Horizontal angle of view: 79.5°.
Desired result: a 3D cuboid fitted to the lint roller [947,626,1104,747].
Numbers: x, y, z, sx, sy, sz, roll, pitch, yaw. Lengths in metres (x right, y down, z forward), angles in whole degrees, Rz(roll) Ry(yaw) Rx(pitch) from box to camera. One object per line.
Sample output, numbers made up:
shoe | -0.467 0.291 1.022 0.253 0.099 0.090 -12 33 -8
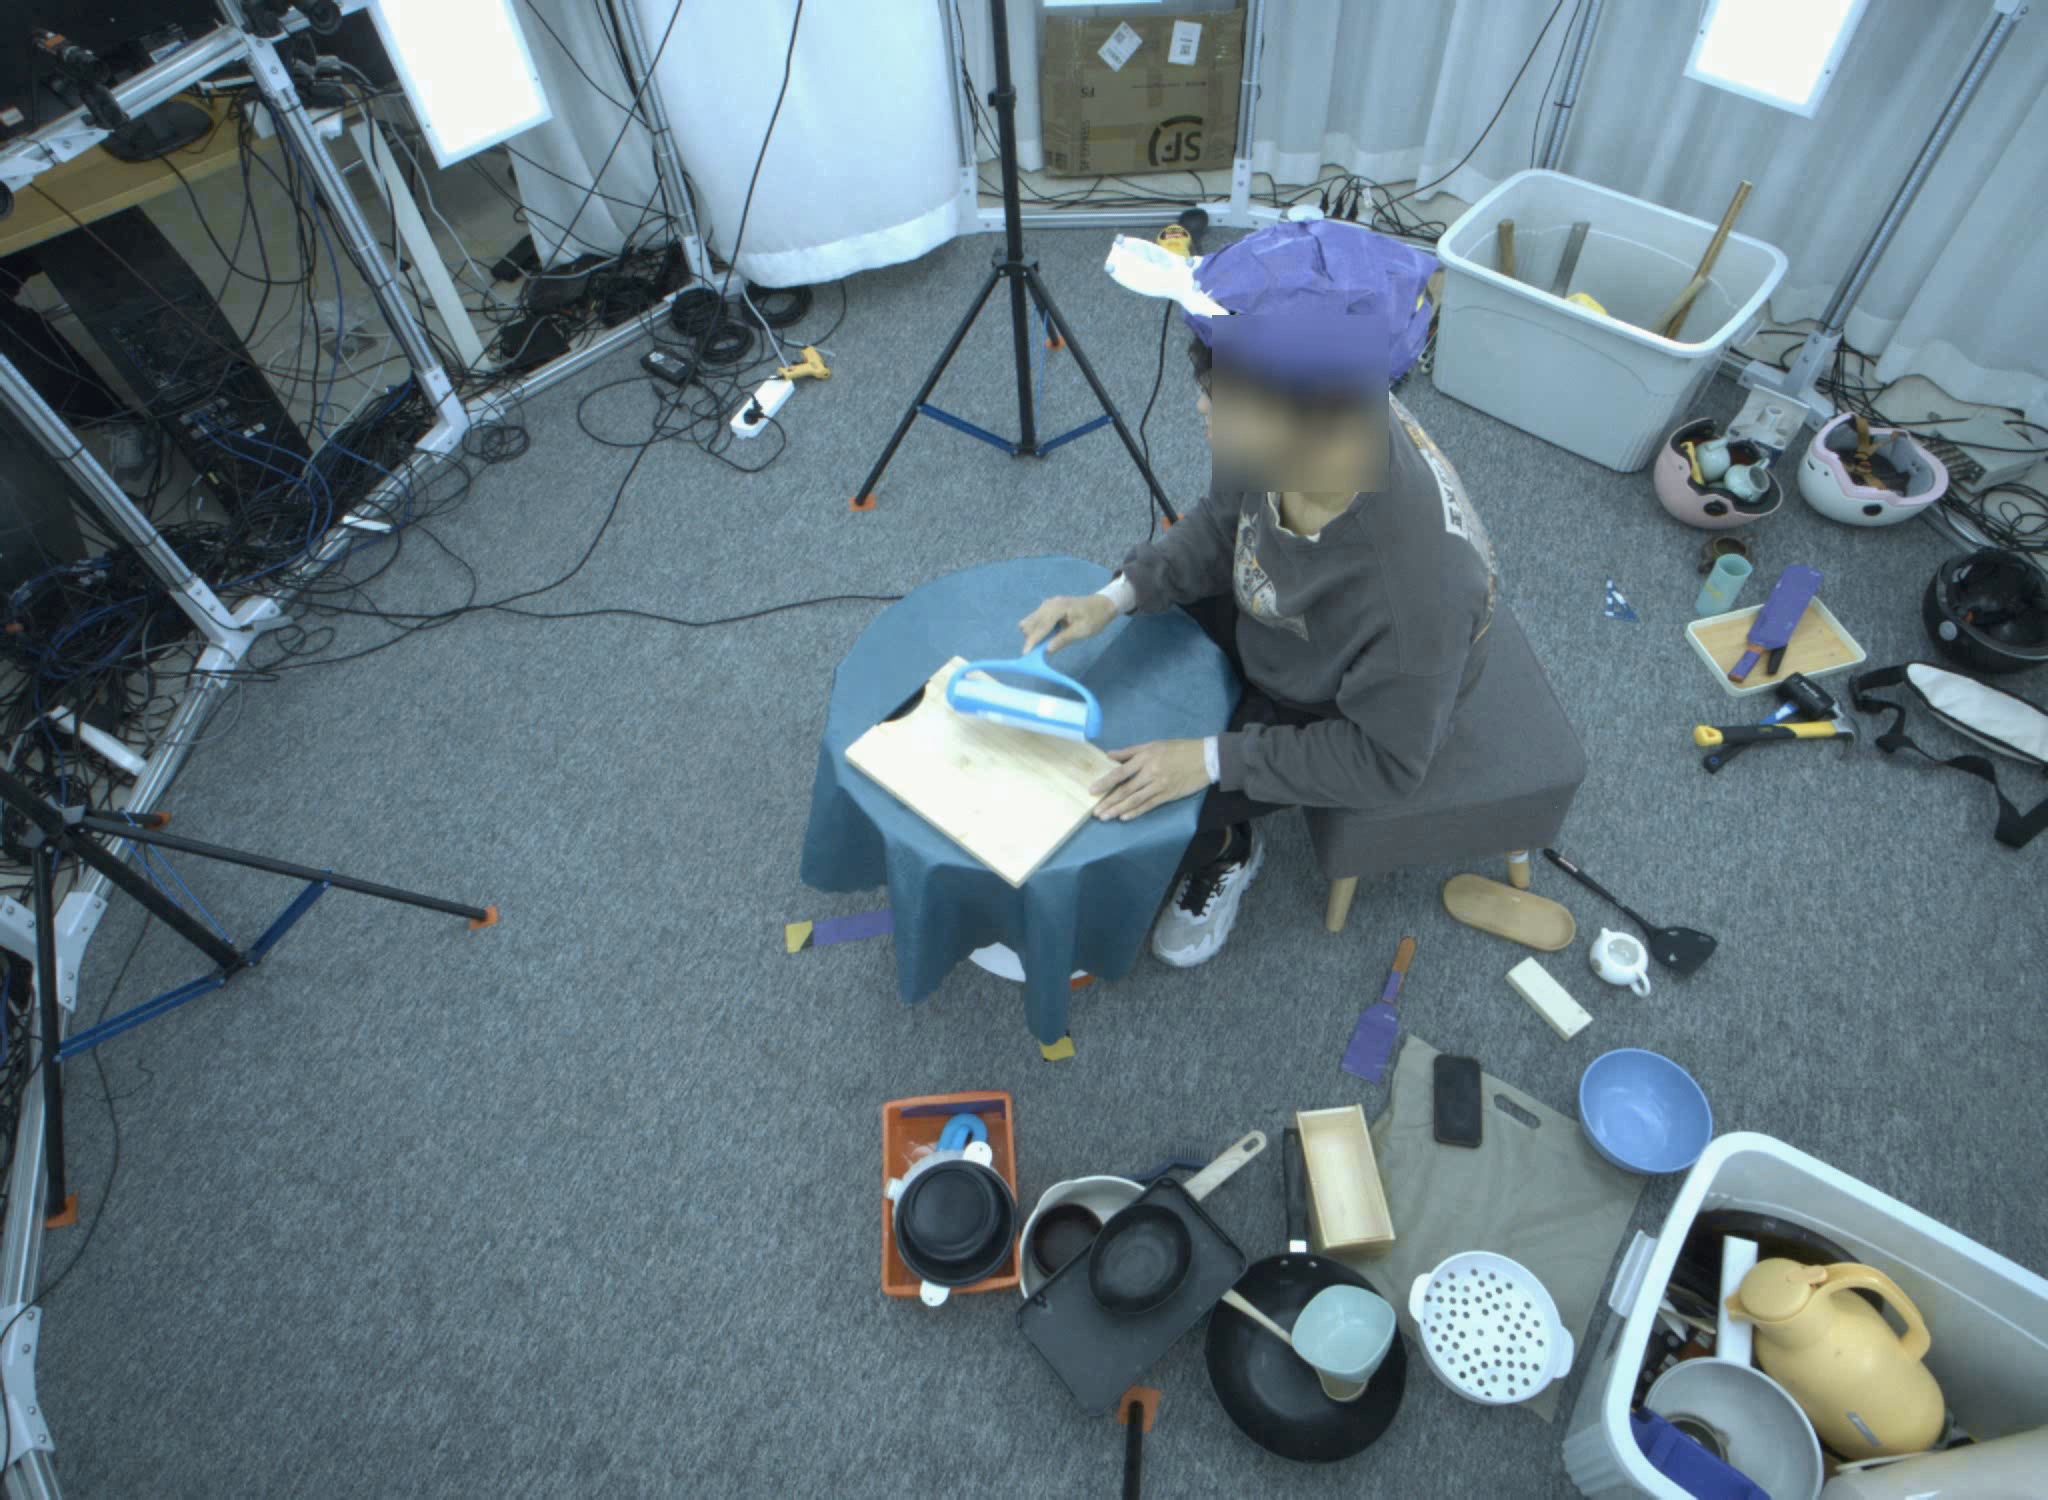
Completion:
lint roller | 0.015 -0.107 1.745 0.227 0.068 0.179 11 74 11

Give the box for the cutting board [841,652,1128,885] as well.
cutting board | -0.059 0.017 1.765 0.342 0.024 0.252 34 62 23
